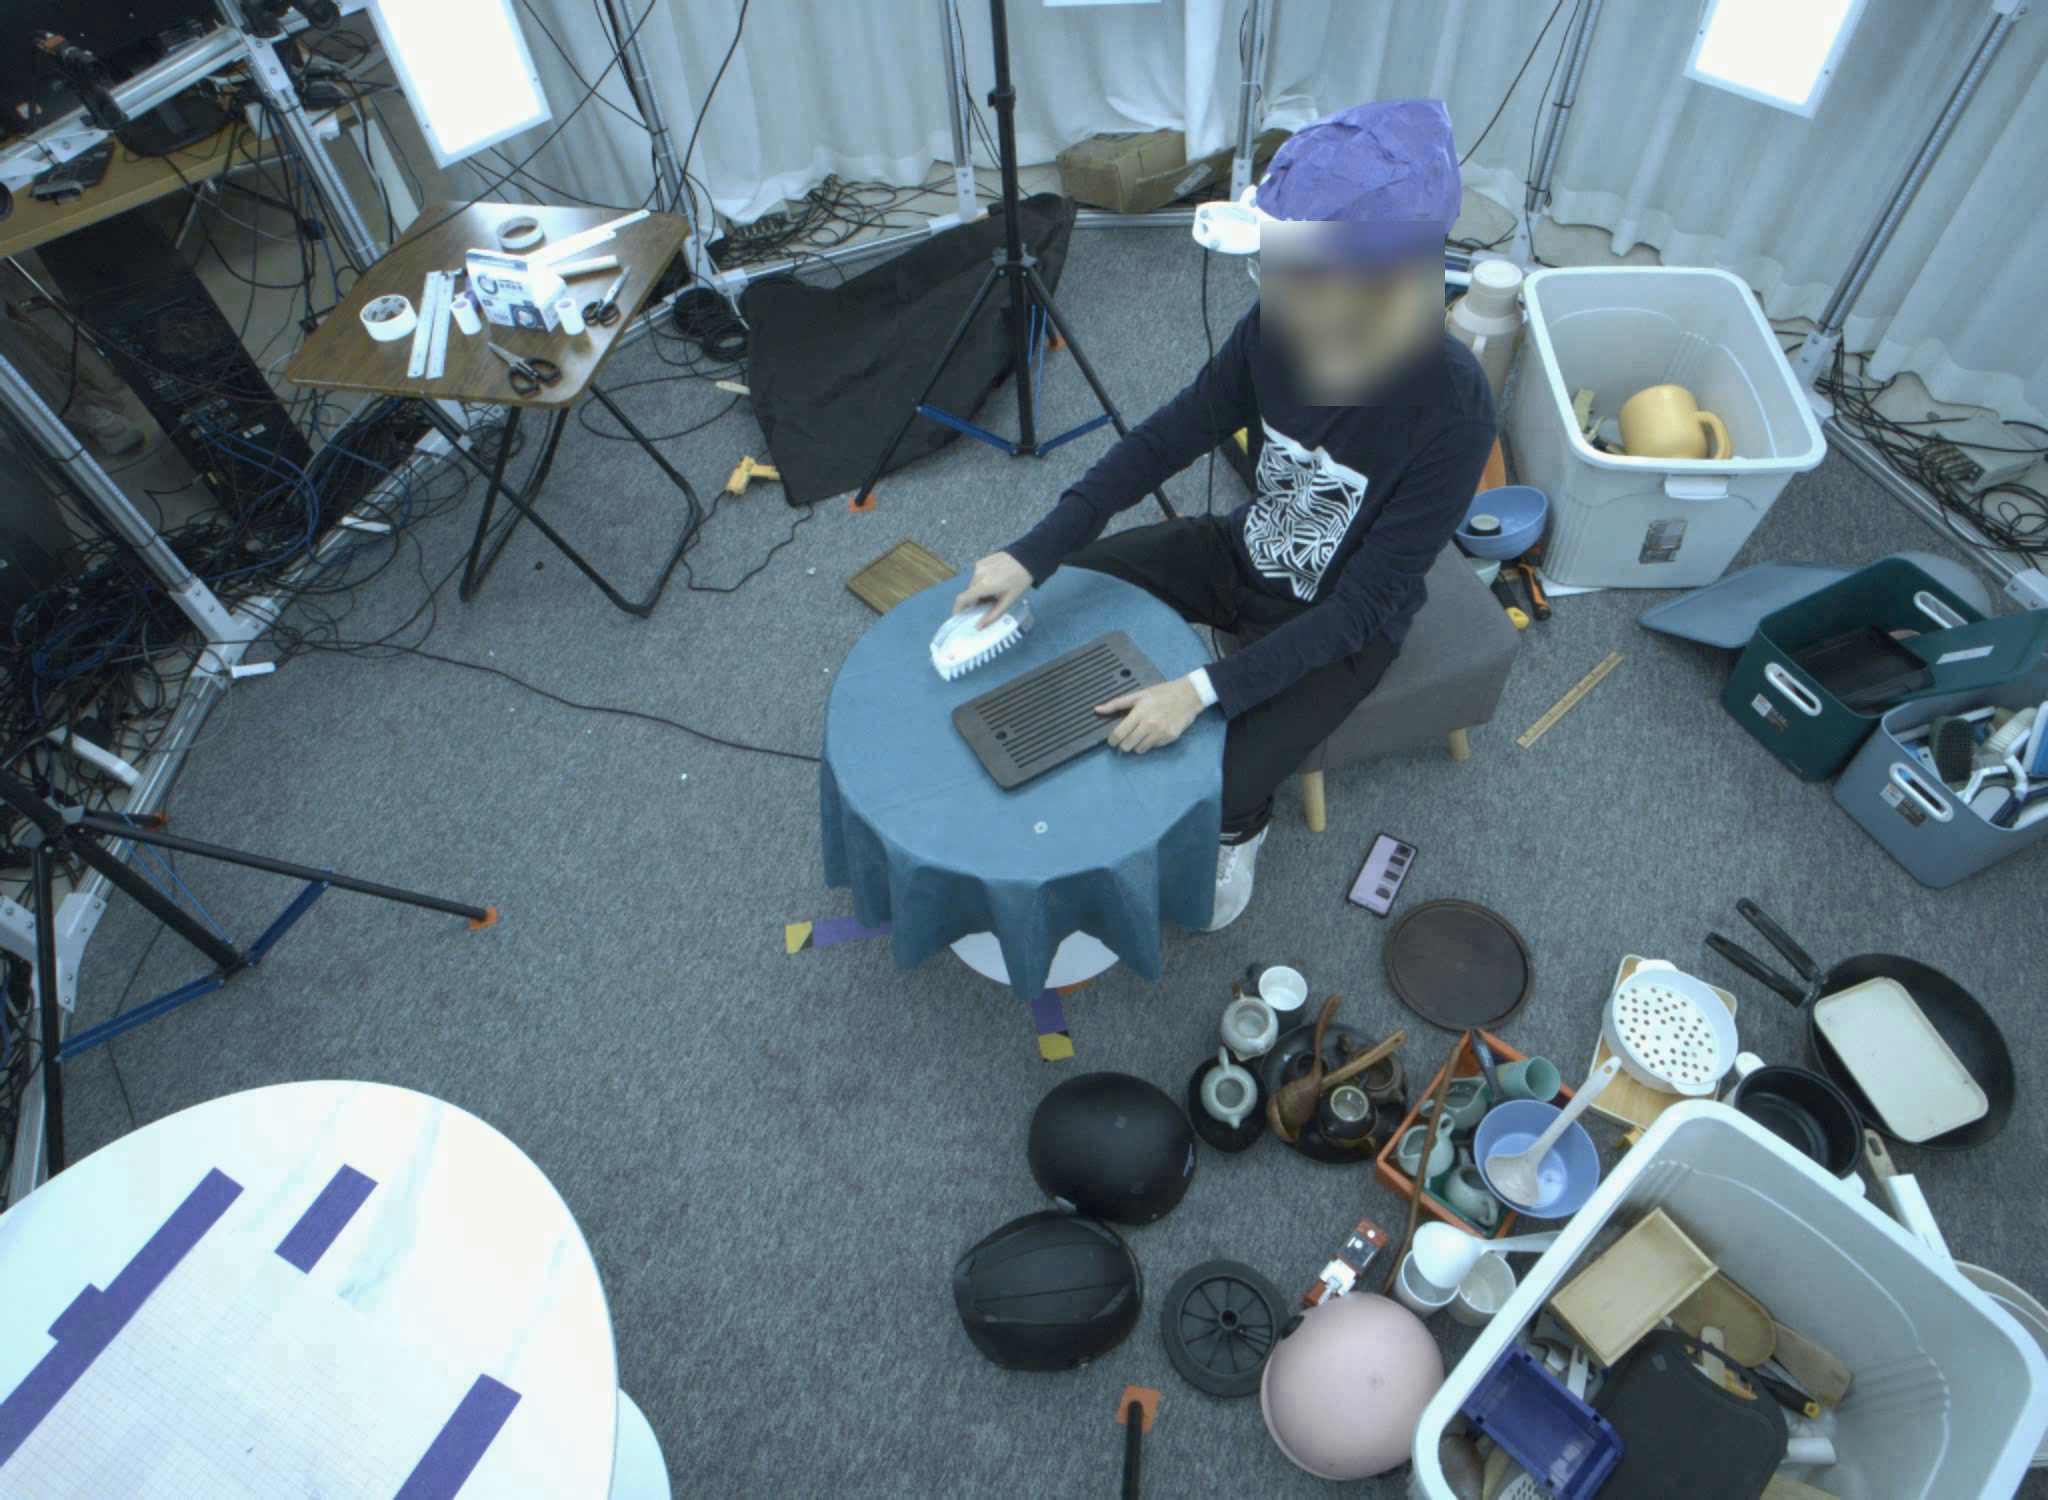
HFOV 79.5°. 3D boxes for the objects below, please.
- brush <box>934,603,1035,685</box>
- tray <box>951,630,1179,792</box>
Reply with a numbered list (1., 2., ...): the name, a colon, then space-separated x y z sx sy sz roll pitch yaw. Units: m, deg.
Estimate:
1. brush: -0.057 -0.178 1.856 0.177 0.095 0.060 -31 57 -19
2. tray: 0.061 -0.060 1.810 0.308 0.019 0.167 -27 58 -16
